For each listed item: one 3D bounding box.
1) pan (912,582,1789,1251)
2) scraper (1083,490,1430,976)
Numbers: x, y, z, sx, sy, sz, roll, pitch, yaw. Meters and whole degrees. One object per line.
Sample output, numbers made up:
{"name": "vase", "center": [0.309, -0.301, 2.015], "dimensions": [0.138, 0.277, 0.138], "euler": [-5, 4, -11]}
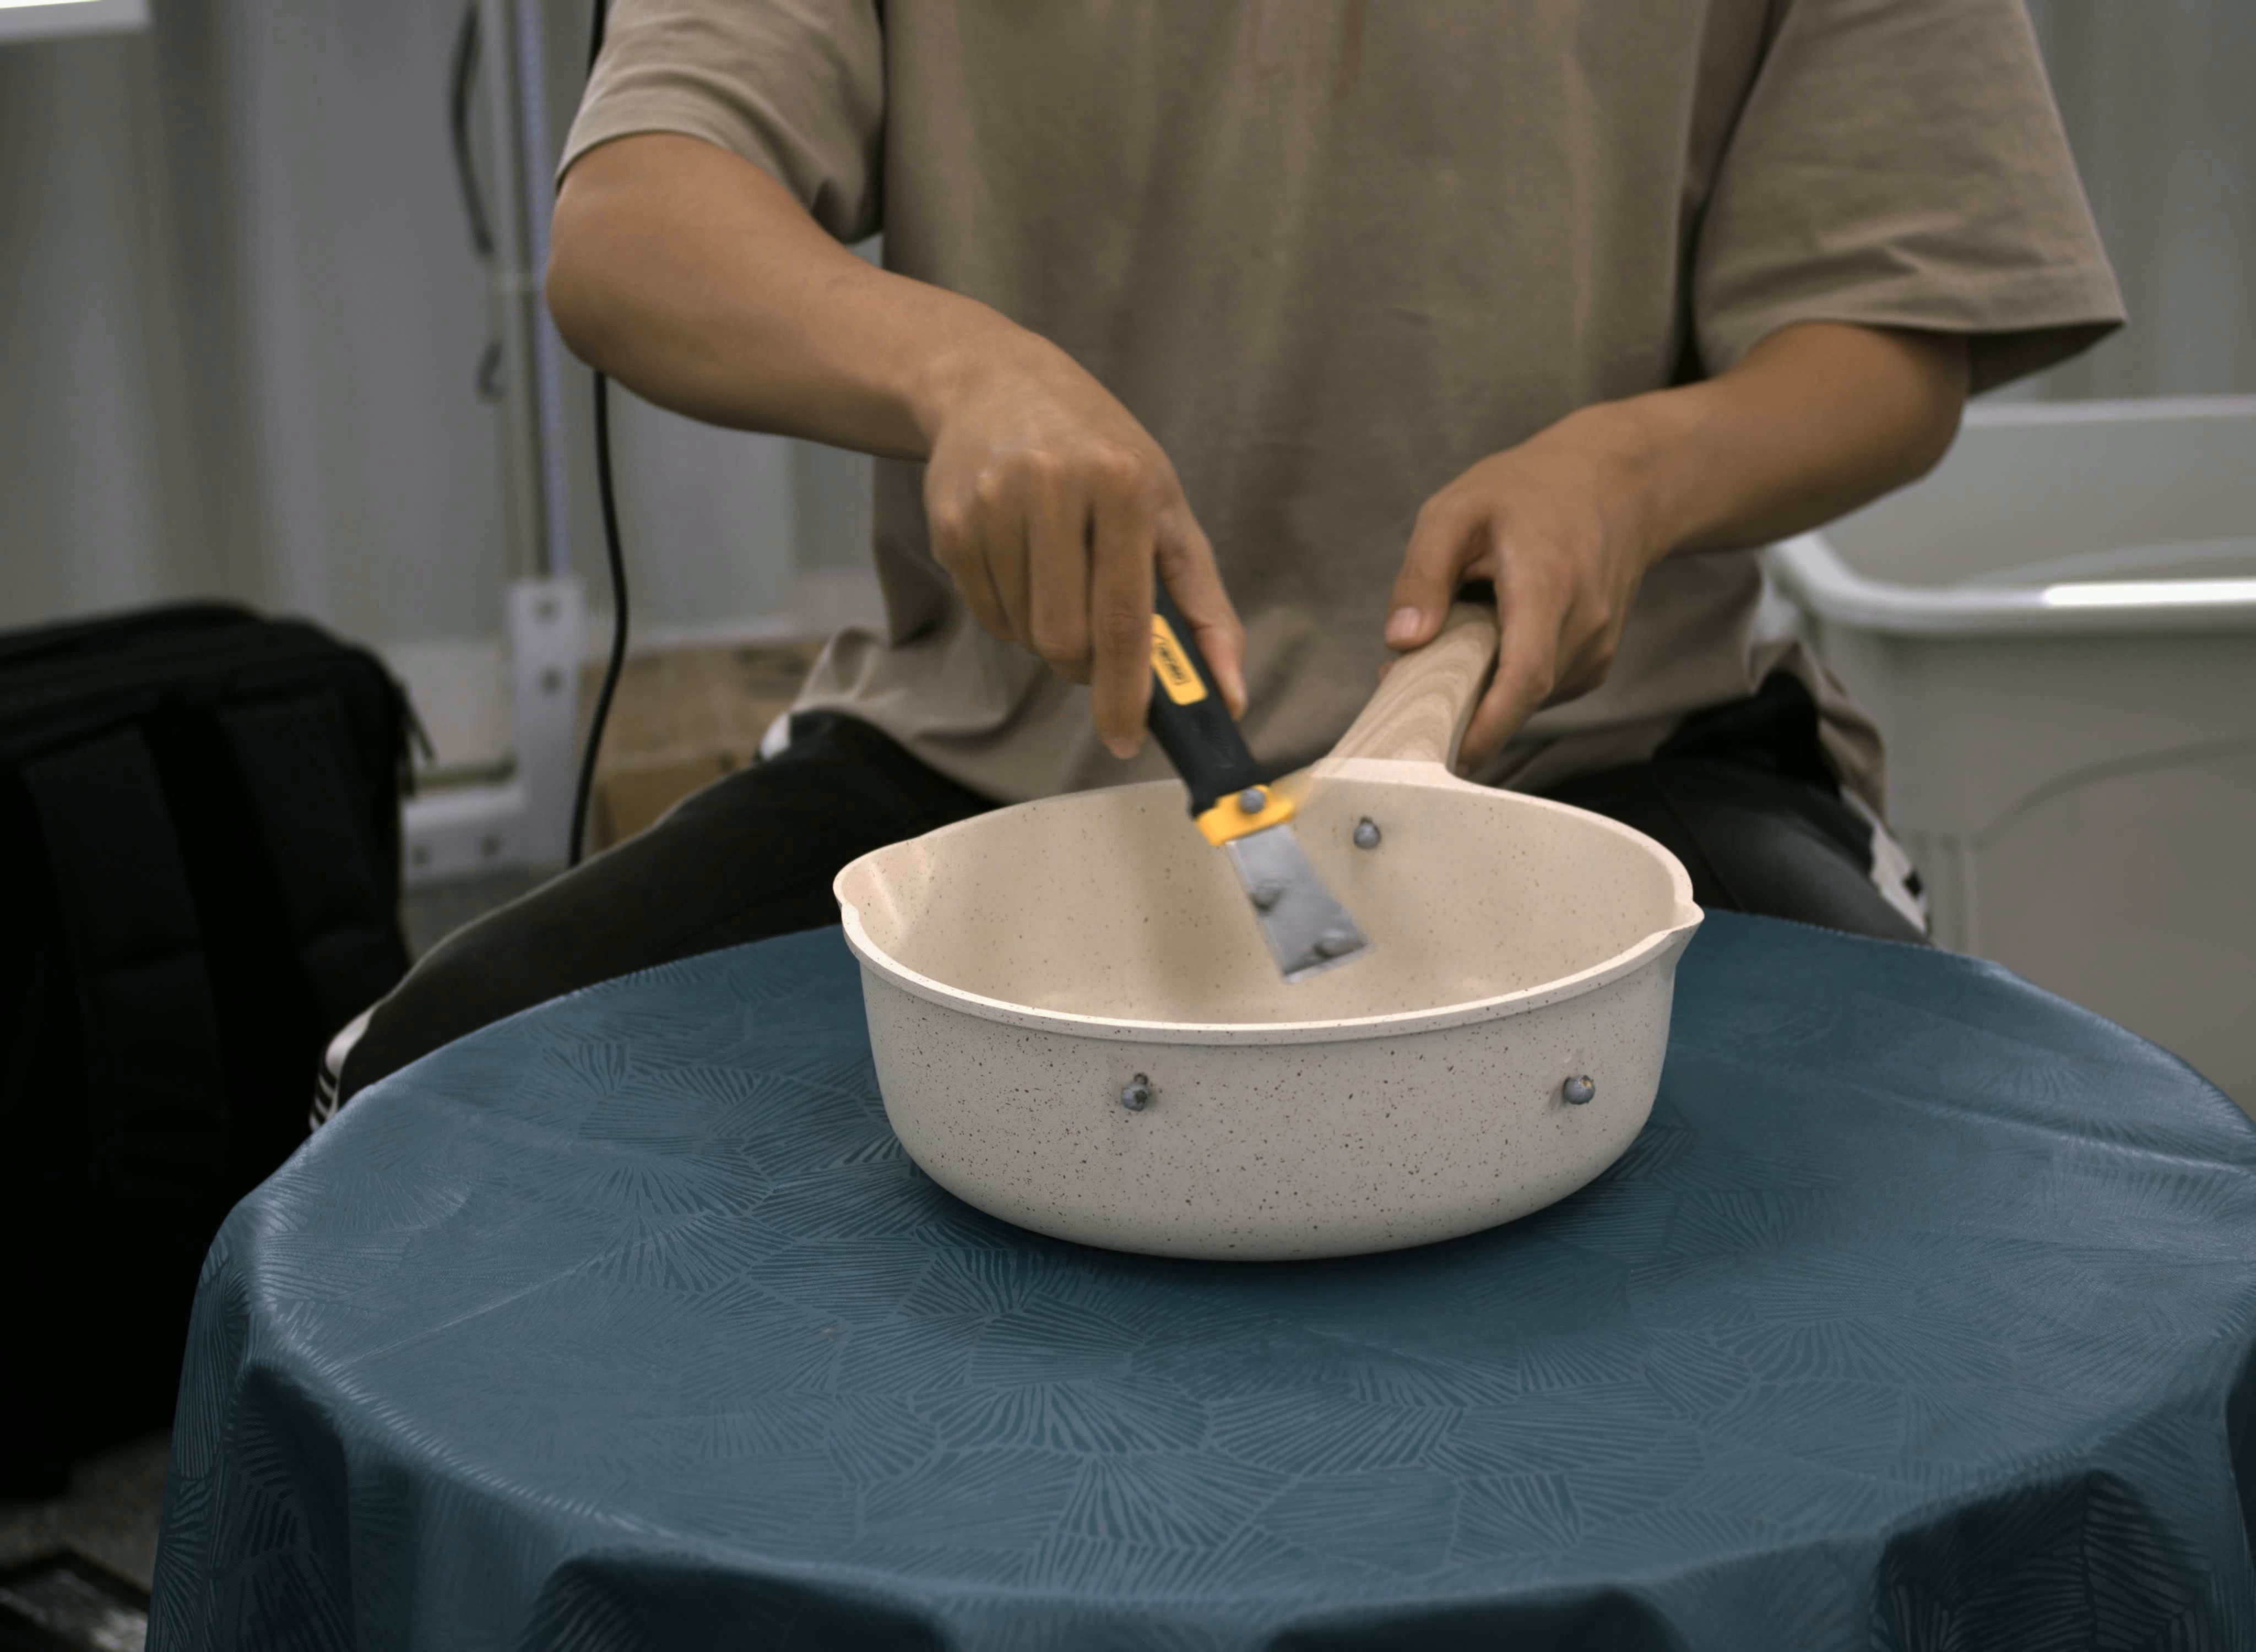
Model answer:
{"name": "pan", "center": [0.091, 0.024, 1.652], "dimensions": [0.266, 0.102, 0.431], "euler": [0, 16, 18]}
{"name": "scraper", "center": [0.035, -0.030, 1.627], "dimensions": [0.038, 0.173, 0.015], "euler": [-23, -19, -23]}
